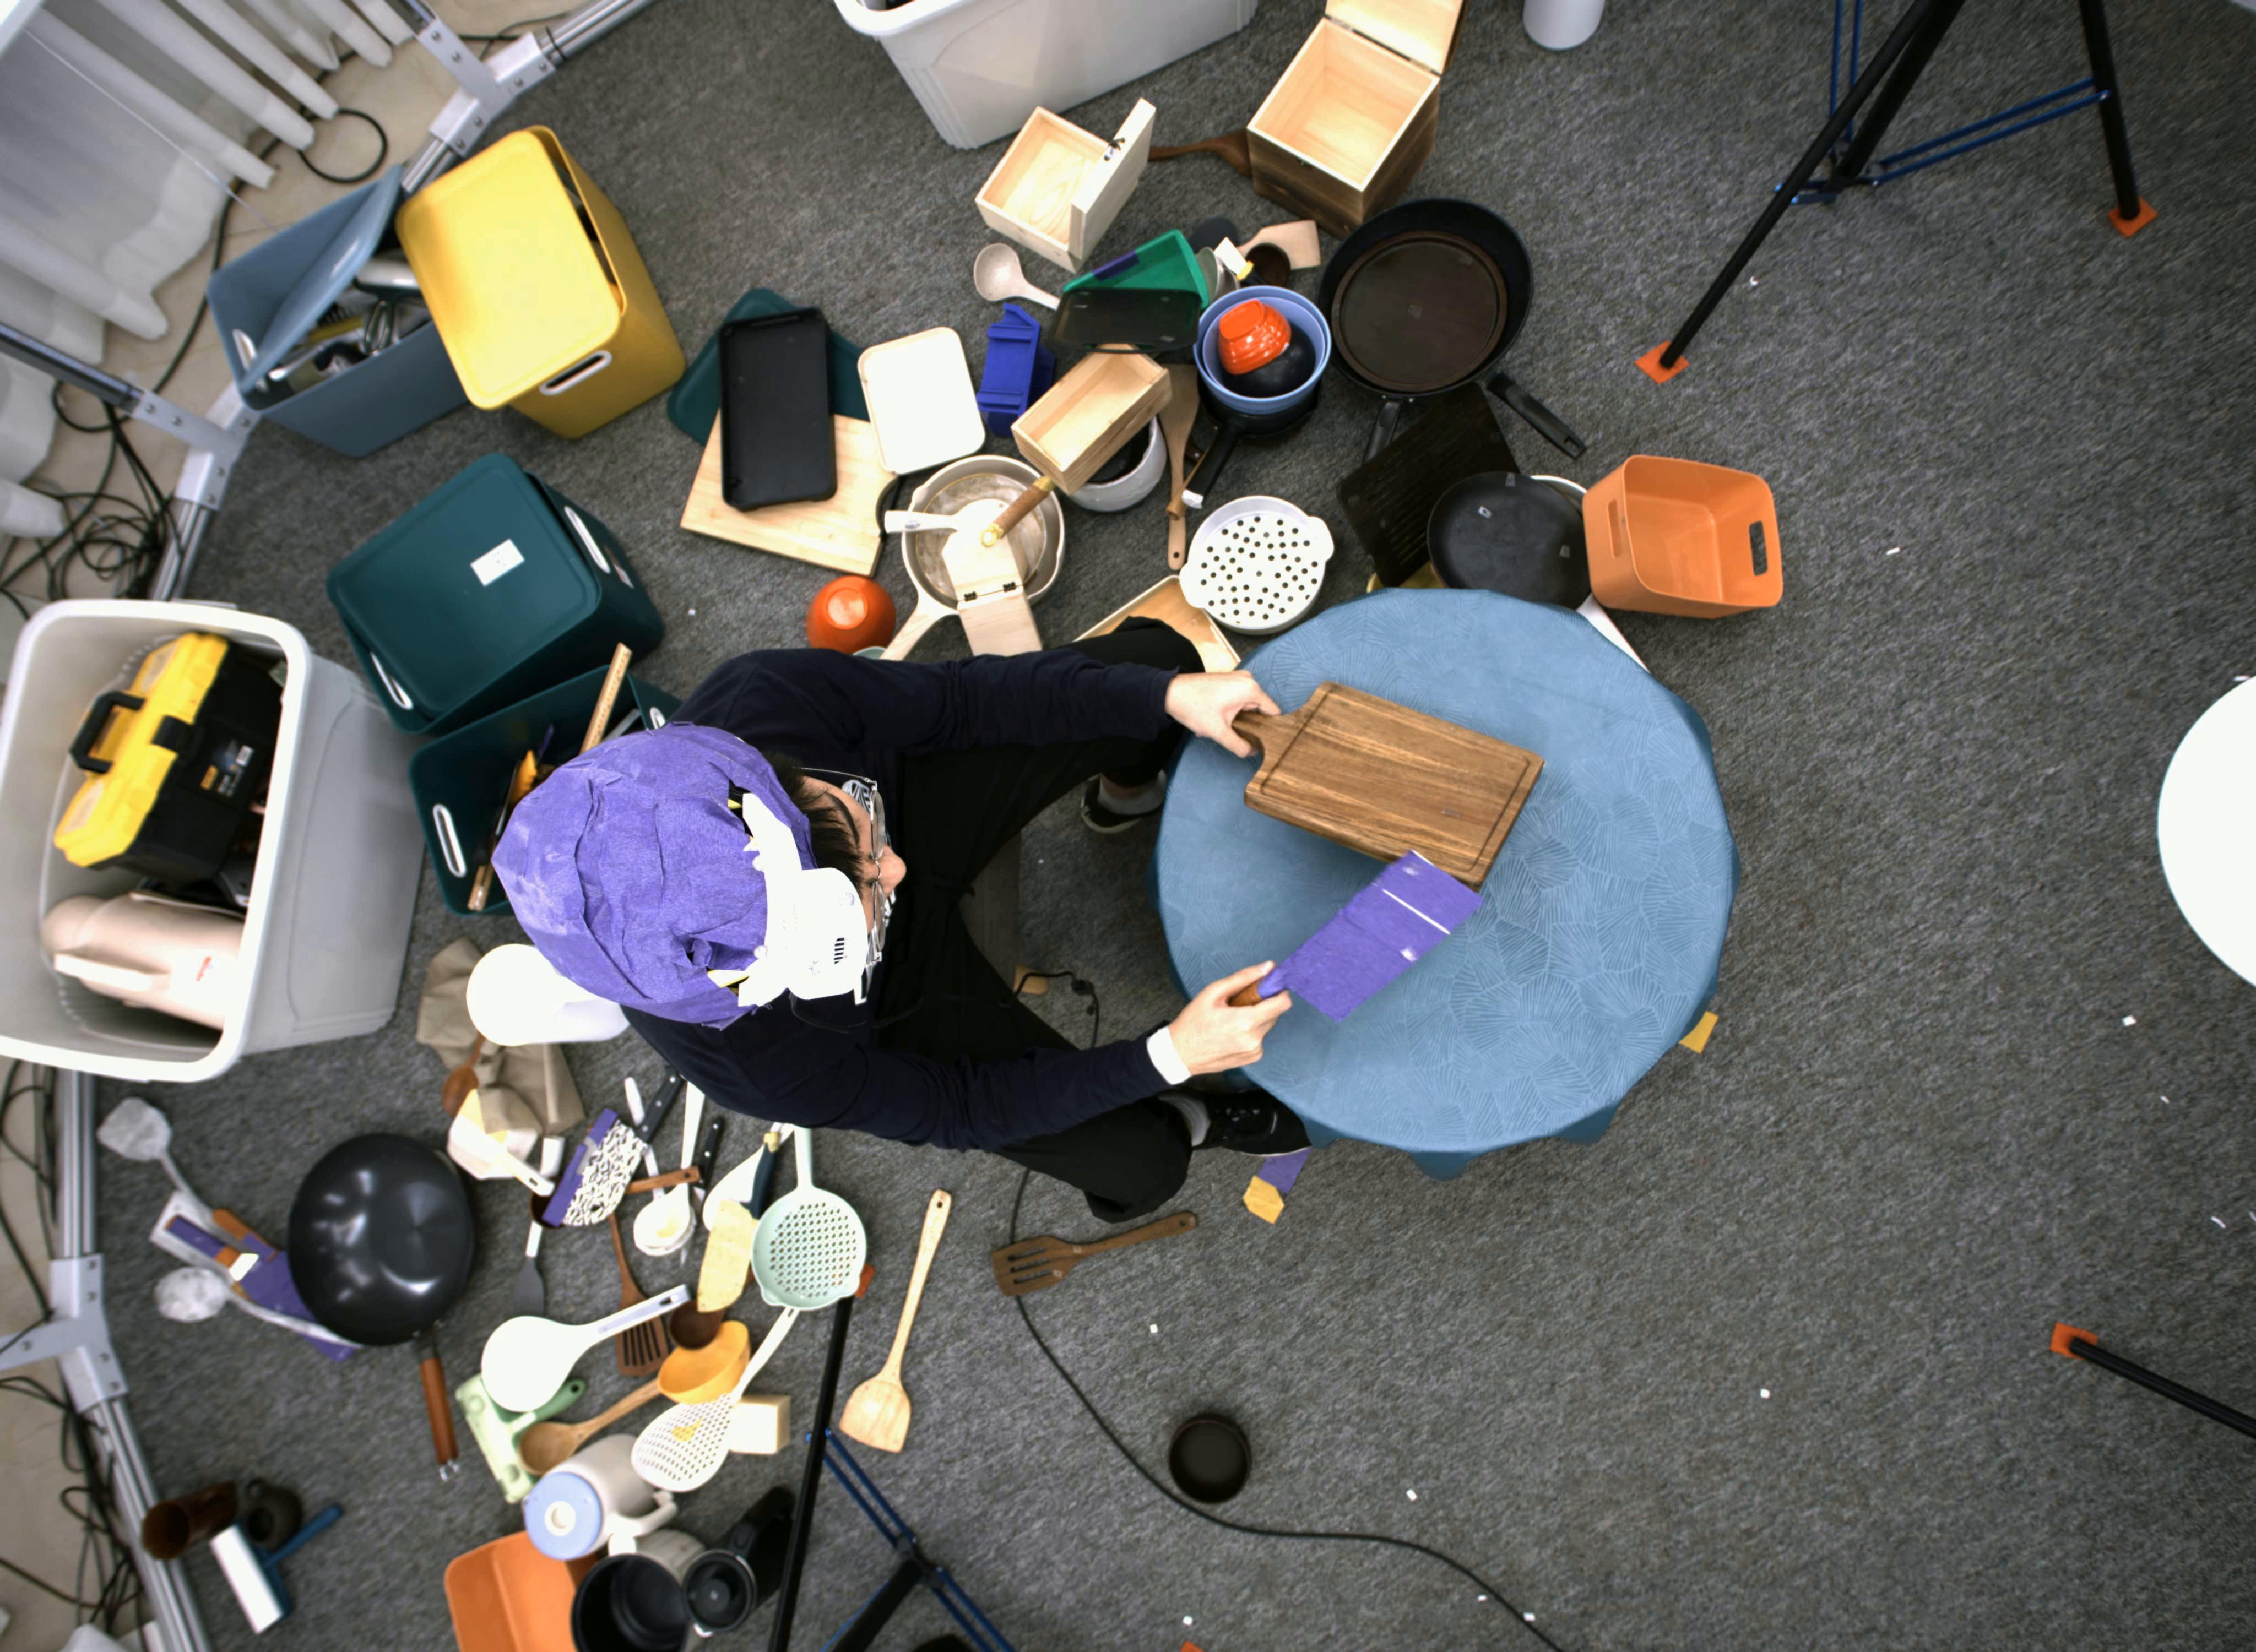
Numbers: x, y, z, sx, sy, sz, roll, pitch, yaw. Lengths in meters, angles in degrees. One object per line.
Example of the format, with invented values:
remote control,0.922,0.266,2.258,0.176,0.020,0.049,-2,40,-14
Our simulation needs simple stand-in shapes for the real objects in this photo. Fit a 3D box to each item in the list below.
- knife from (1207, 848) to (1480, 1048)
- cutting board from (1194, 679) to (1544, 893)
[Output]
knife,0.202,0.139,1.328,0.104,0.031,0.322,35,129,-12
cutting board,0.226,-0.066,1.404,0.351,0.024,0.196,22,55,21
